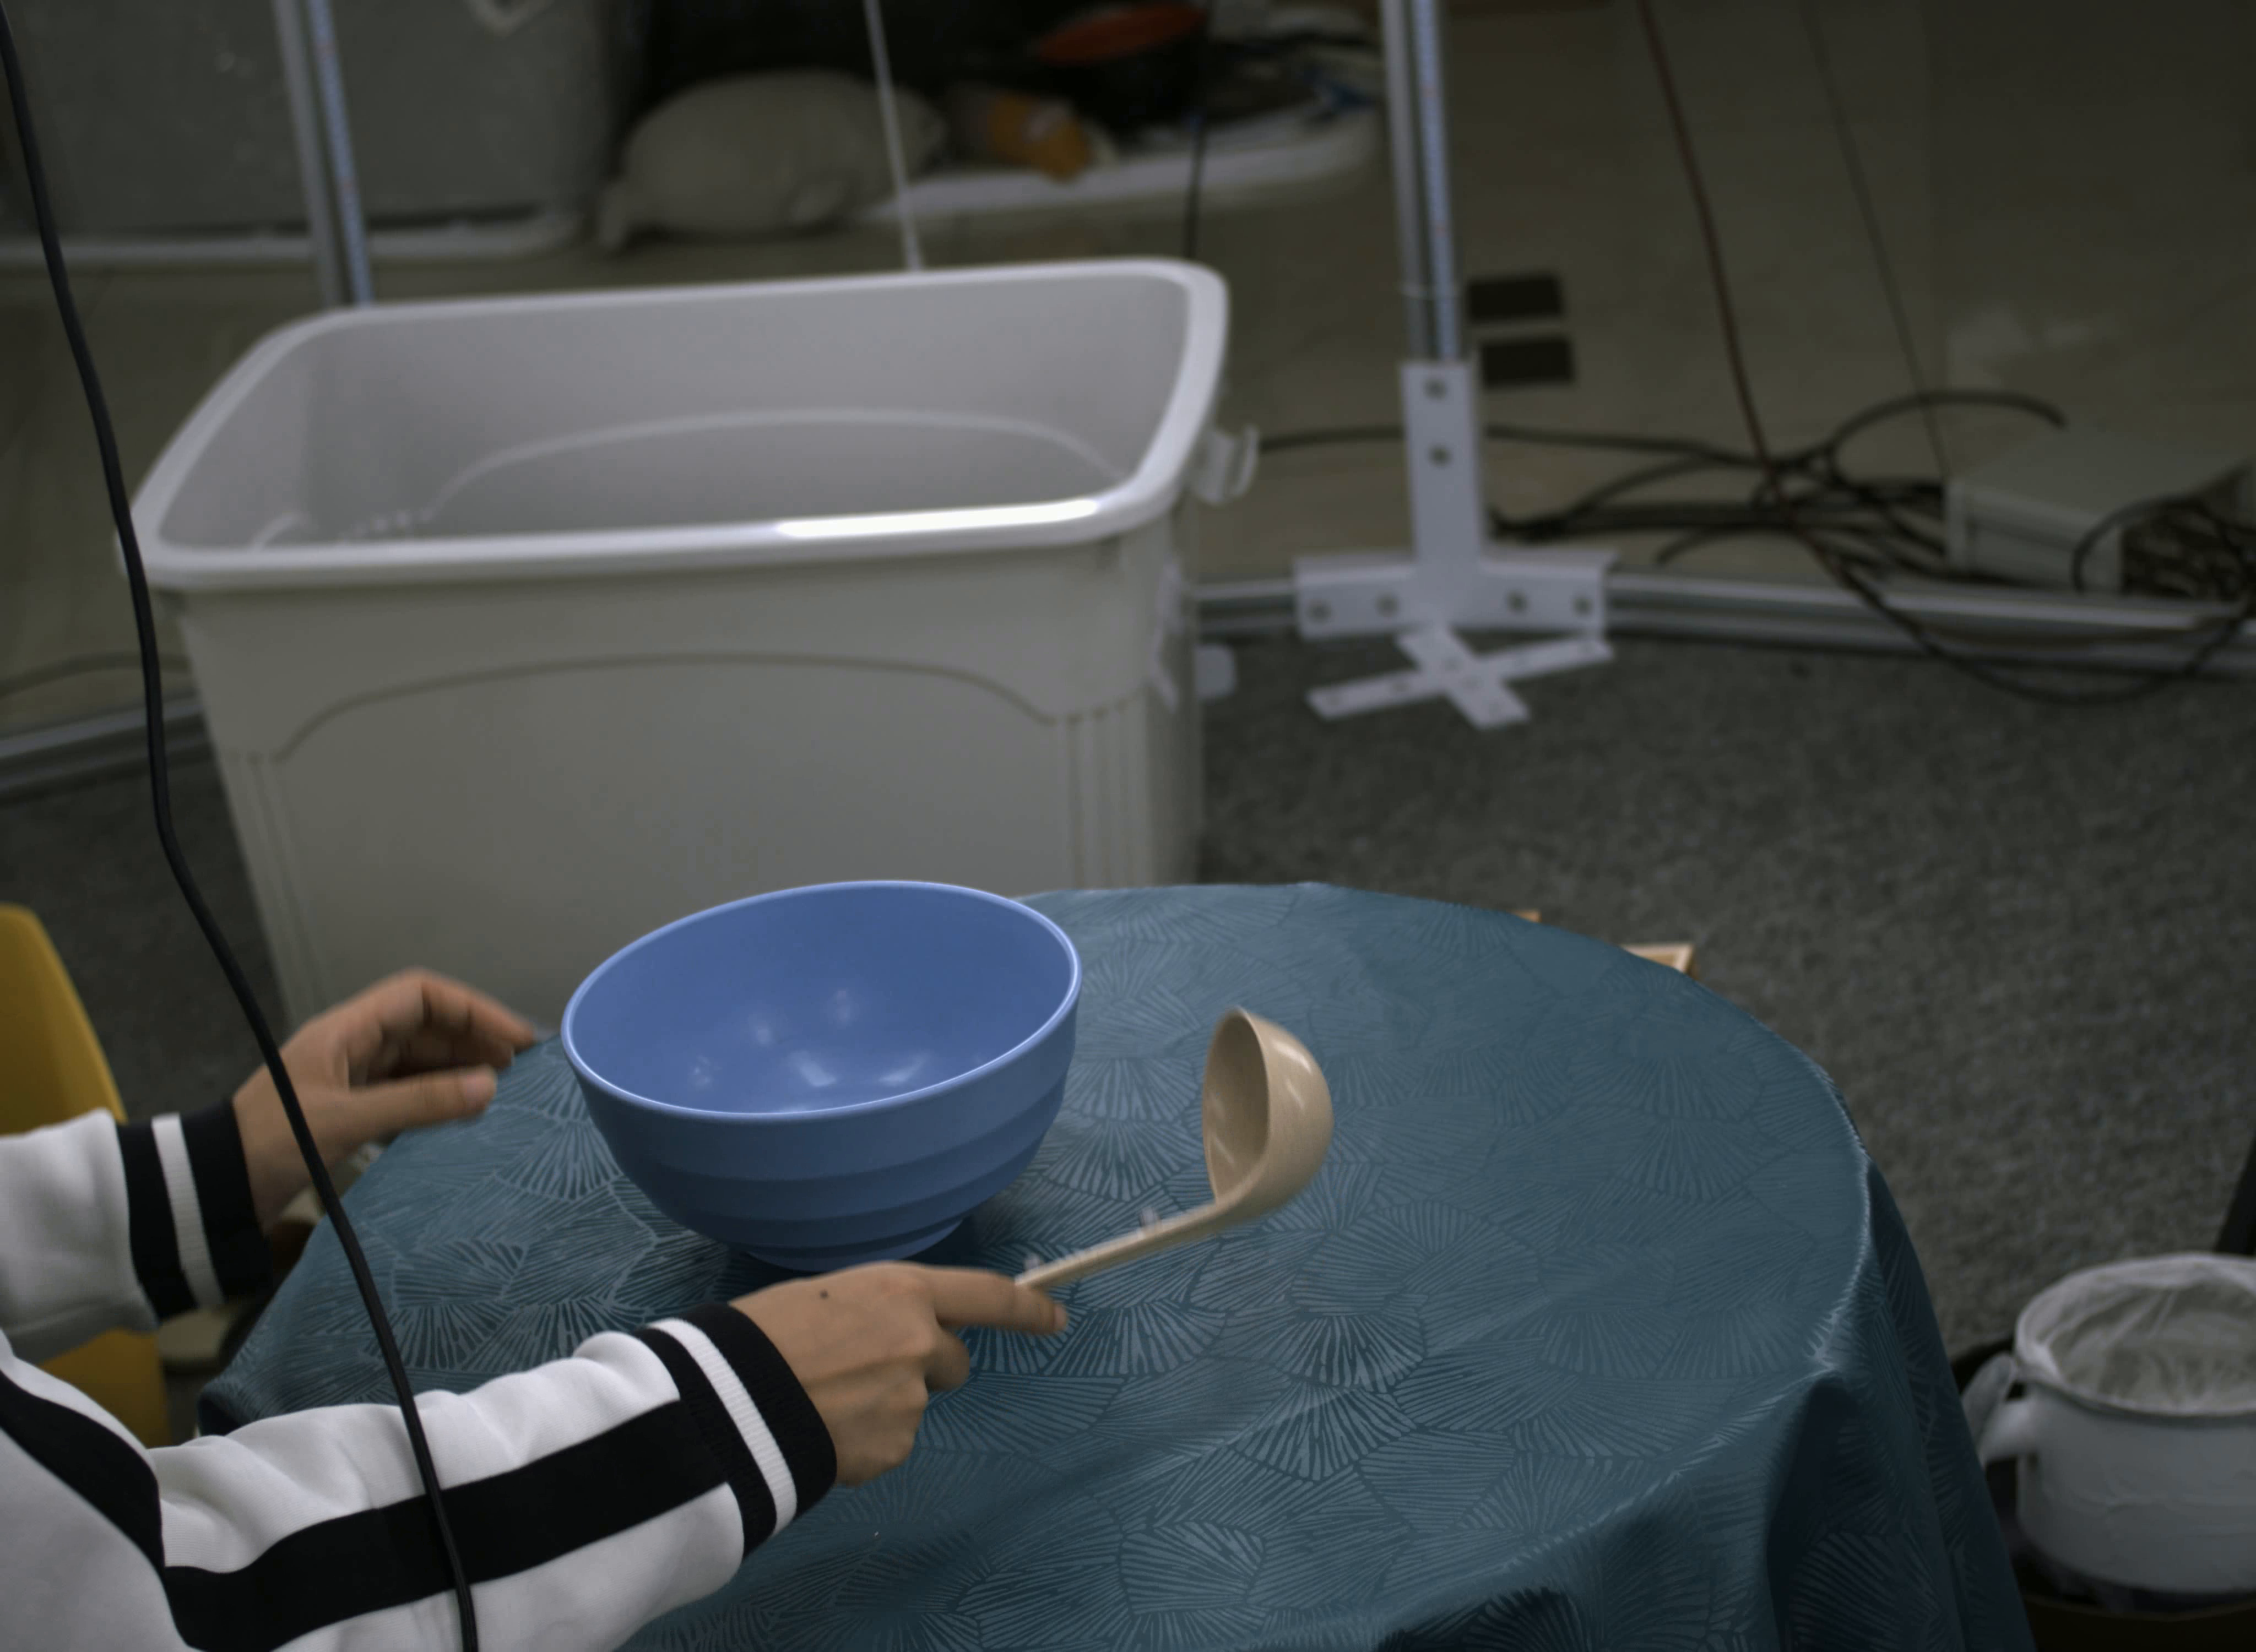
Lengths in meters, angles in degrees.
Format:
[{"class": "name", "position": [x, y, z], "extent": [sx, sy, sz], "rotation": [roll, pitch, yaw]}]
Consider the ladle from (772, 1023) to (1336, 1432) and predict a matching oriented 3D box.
[{"class": "ladle", "position": [-0.037, 0.136, 1.954], "extent": [0.253, 0.073, 0.072], "rotation": [-20, 63, -33]}]

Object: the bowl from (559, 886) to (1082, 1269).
[{"class": "bowl", "position": [-0.111, 0.104, 2.134], "extent": [0.196, 0.097, 0.194], "rotation": [-4, 23, 2]}]
